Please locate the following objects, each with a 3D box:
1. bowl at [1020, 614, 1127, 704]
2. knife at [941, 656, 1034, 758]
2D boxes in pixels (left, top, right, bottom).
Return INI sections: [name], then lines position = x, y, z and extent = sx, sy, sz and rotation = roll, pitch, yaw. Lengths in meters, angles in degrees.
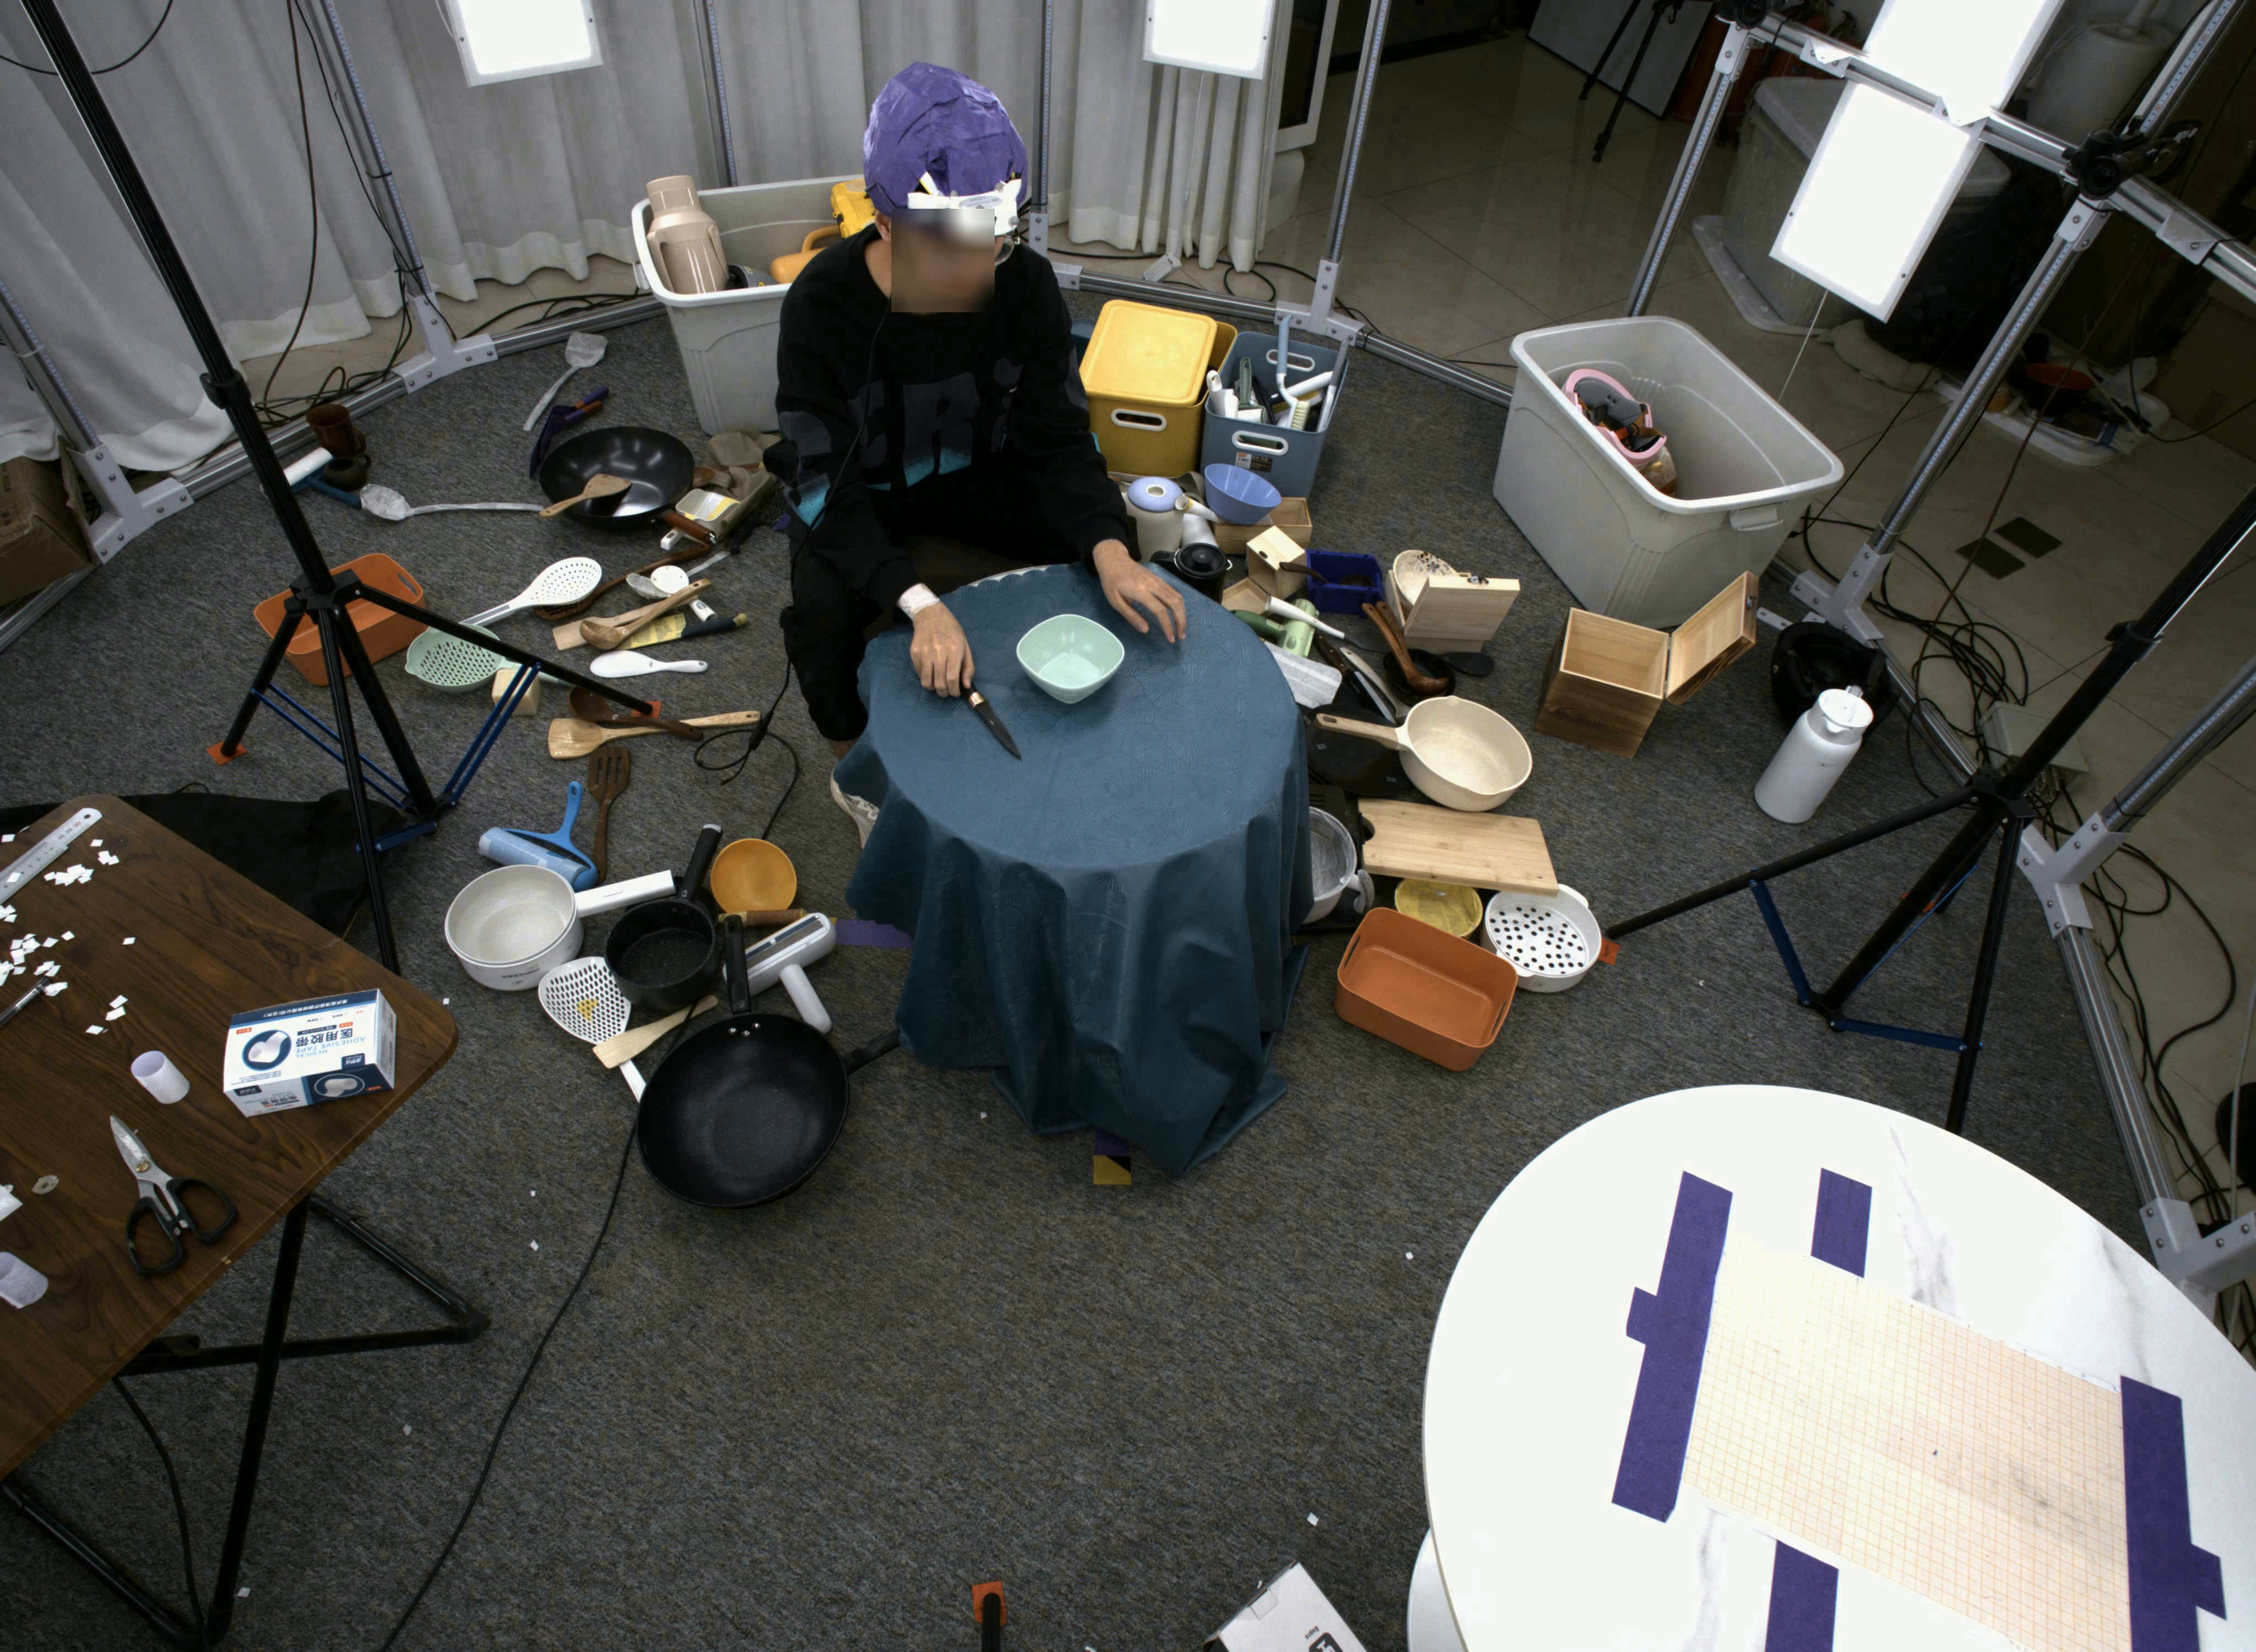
[bowl]
position = -0.078, -0.228, 1.826
extent = 0.151, 0.057, 0.155
rotation = 1, 50, -2
[knife]
position = -0.198, -0.167, 1.794
extent = 0.026, 0.017, 0.230
rotation = -19, 53, -32
